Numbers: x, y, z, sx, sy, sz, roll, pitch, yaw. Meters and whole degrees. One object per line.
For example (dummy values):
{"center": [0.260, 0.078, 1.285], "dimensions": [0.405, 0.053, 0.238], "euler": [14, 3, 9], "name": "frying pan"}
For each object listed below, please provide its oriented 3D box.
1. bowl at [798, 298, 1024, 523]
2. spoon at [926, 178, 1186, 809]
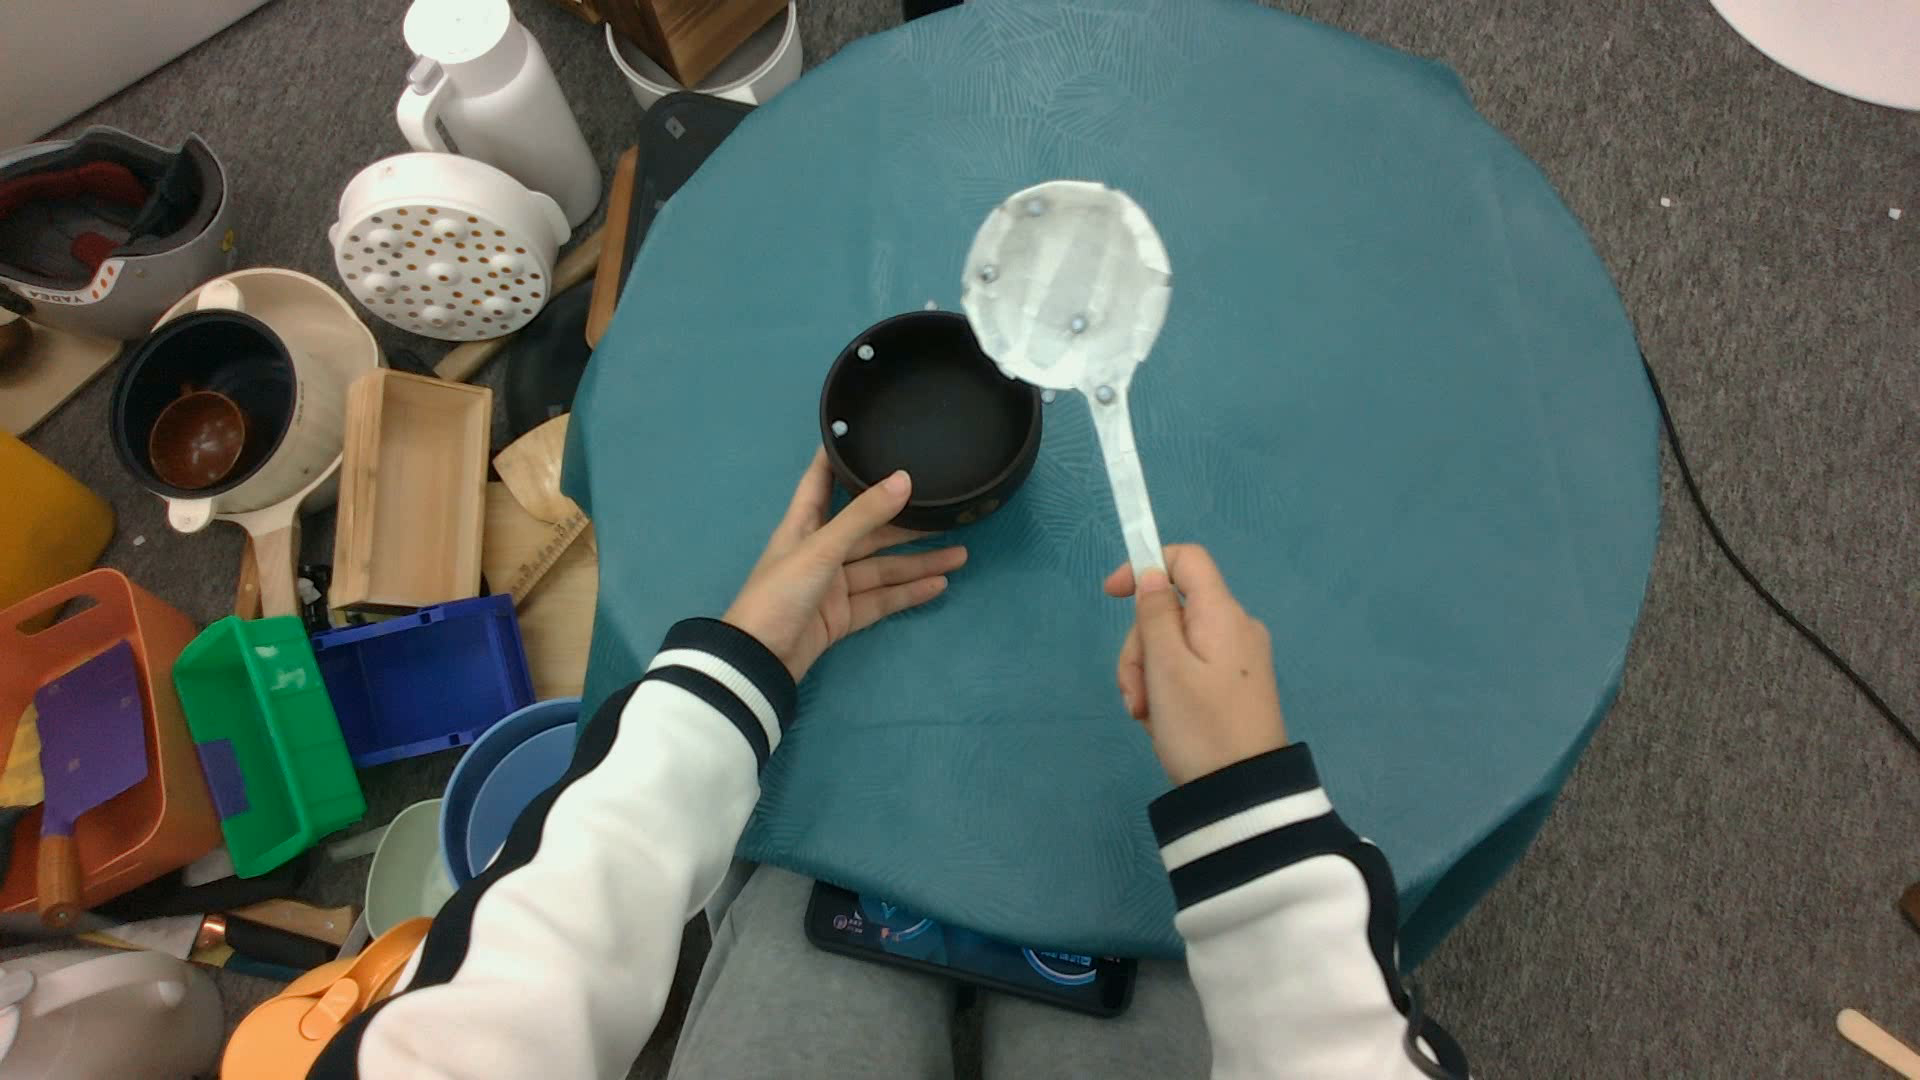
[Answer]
{"center": [-0.025, -0.063, 0.737], "dimensions": [0.118, 0.069, 0.118], "euler": [0, 69, 1], "name": "bowl"}
{"center": [0.046, -0.020, 0.596], "dimensions": [0.100, 0.059, 0.278], "euler": [-19, 74, 31], "name": "spoon"}
